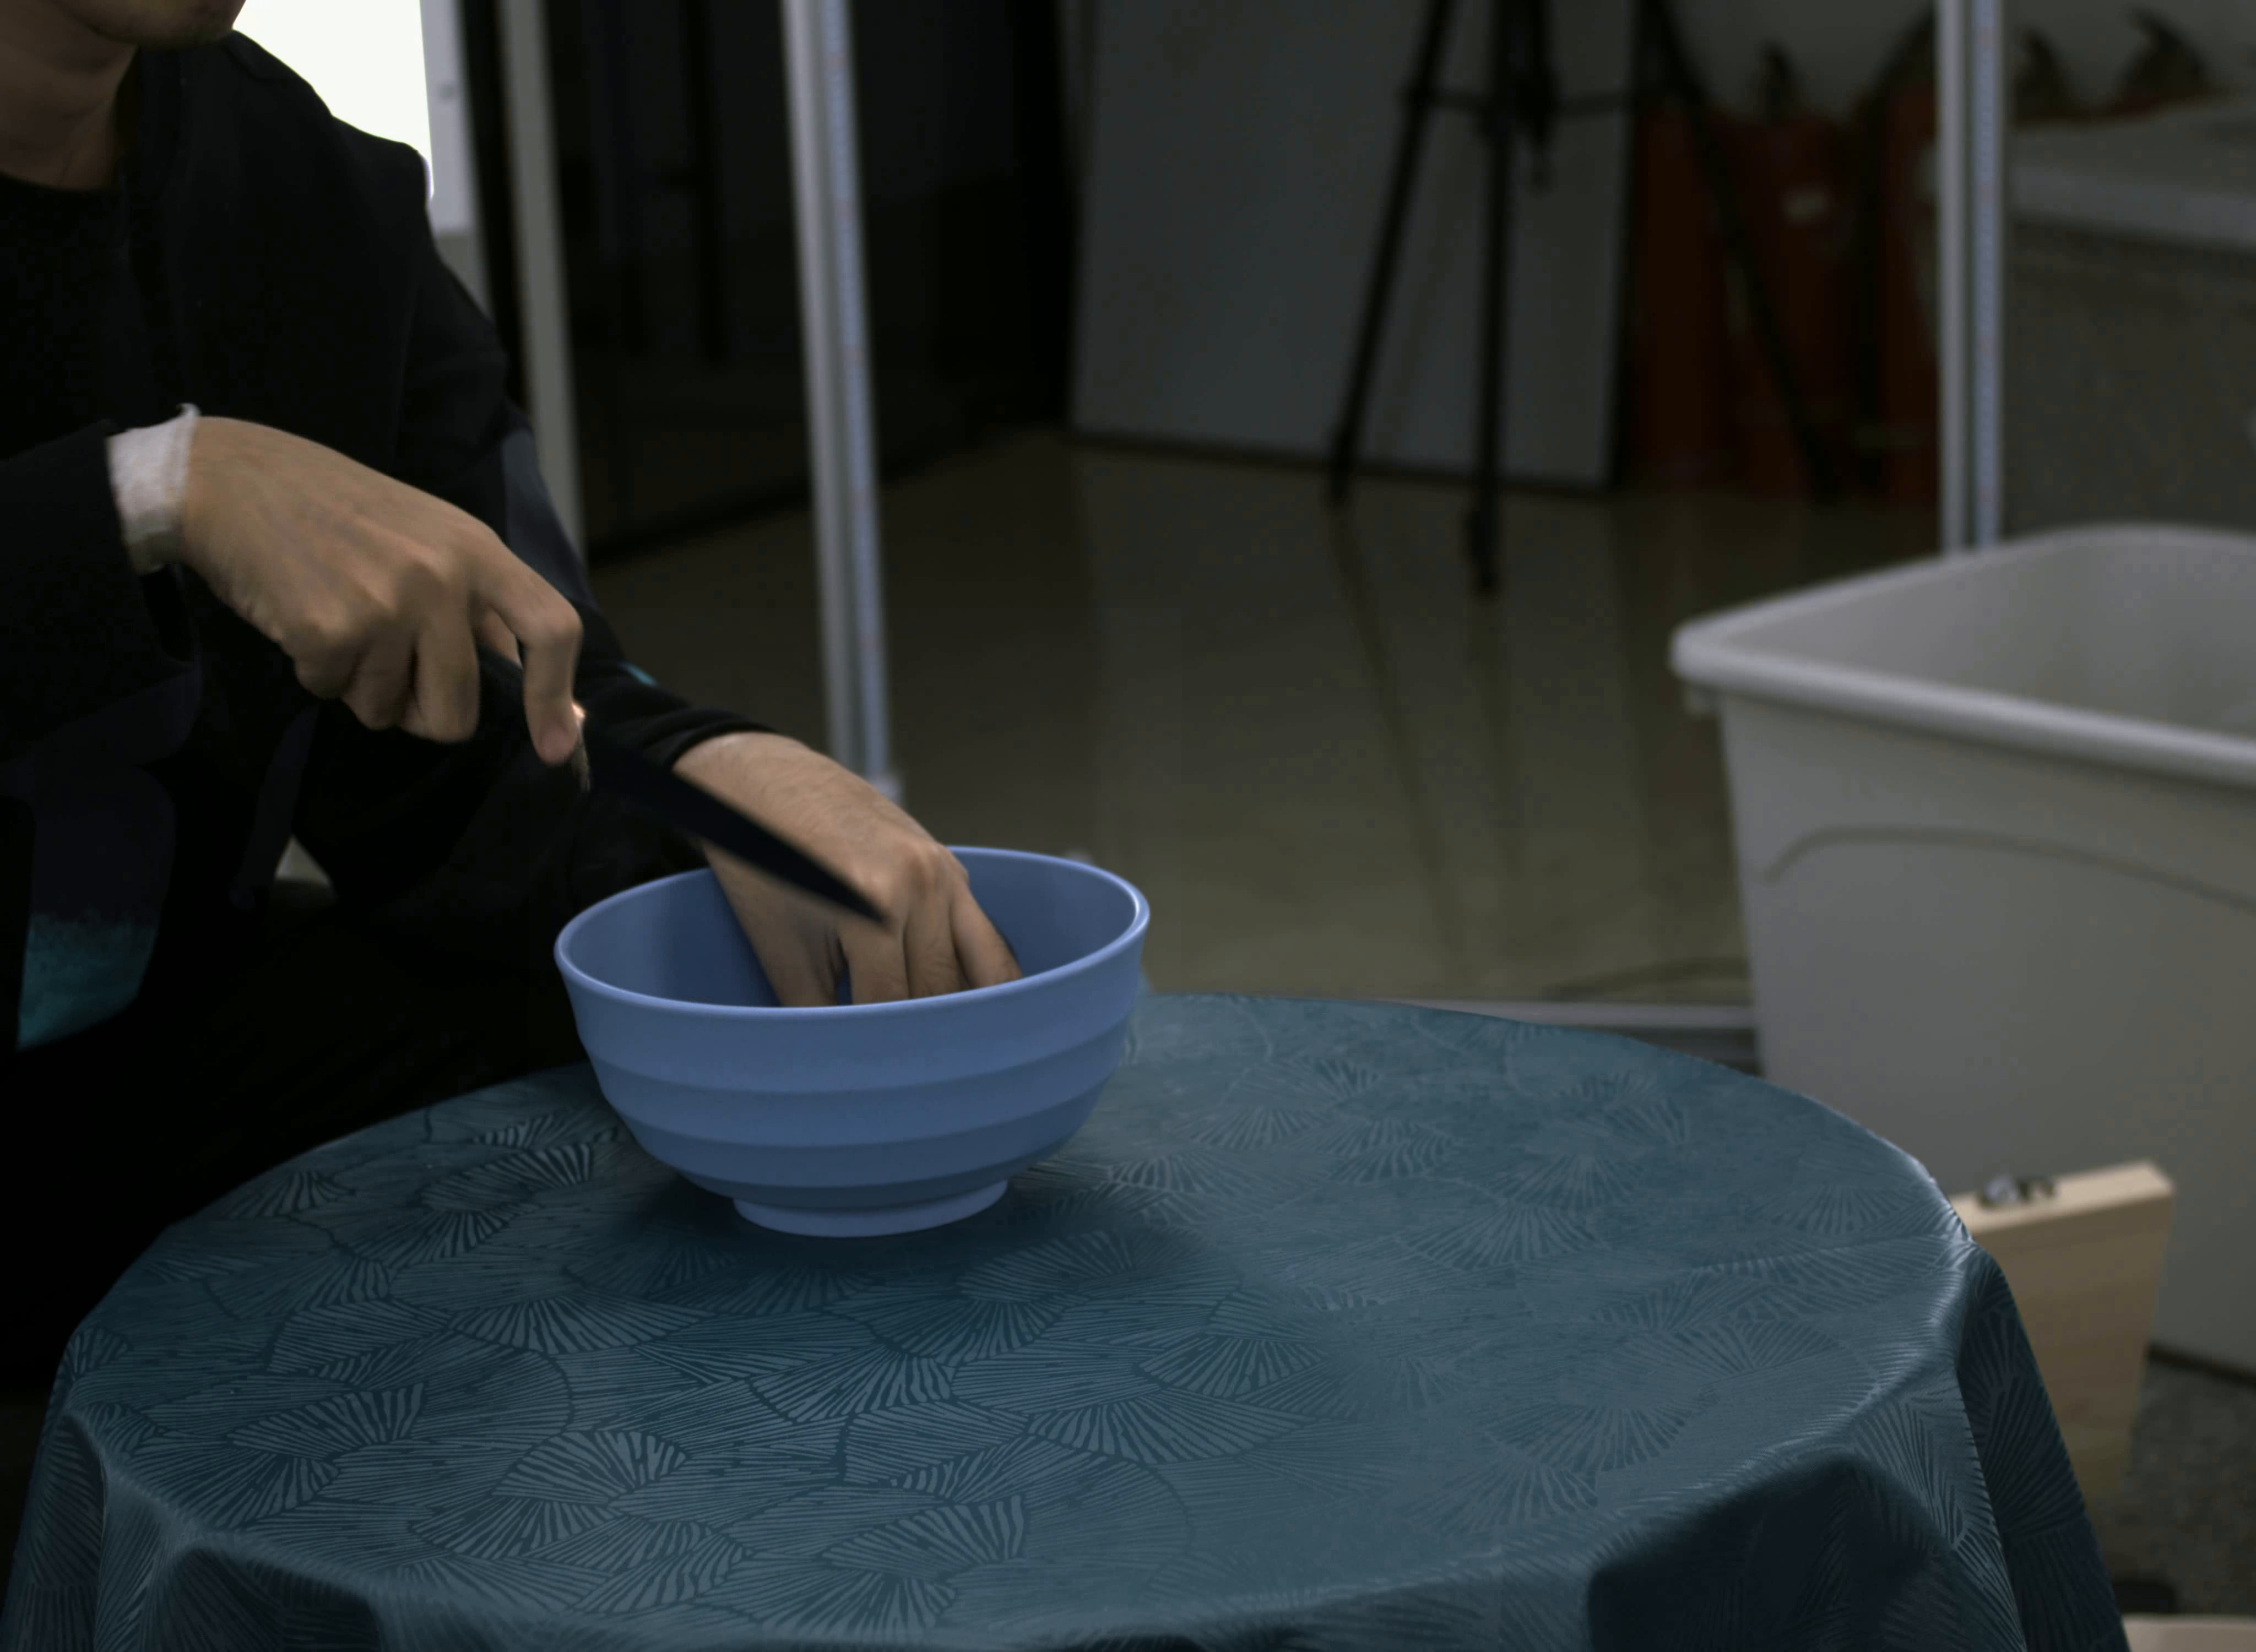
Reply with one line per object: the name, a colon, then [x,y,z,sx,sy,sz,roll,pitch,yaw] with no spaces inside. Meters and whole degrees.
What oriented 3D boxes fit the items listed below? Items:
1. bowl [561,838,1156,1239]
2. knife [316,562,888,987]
bowl: [-0.087,0.075,1.773,0.194,0.096,0.197,-1,15,-1]
knife: [-0.168,-0.016,1.743,0.224,0.026,0.017,34,30,3]
